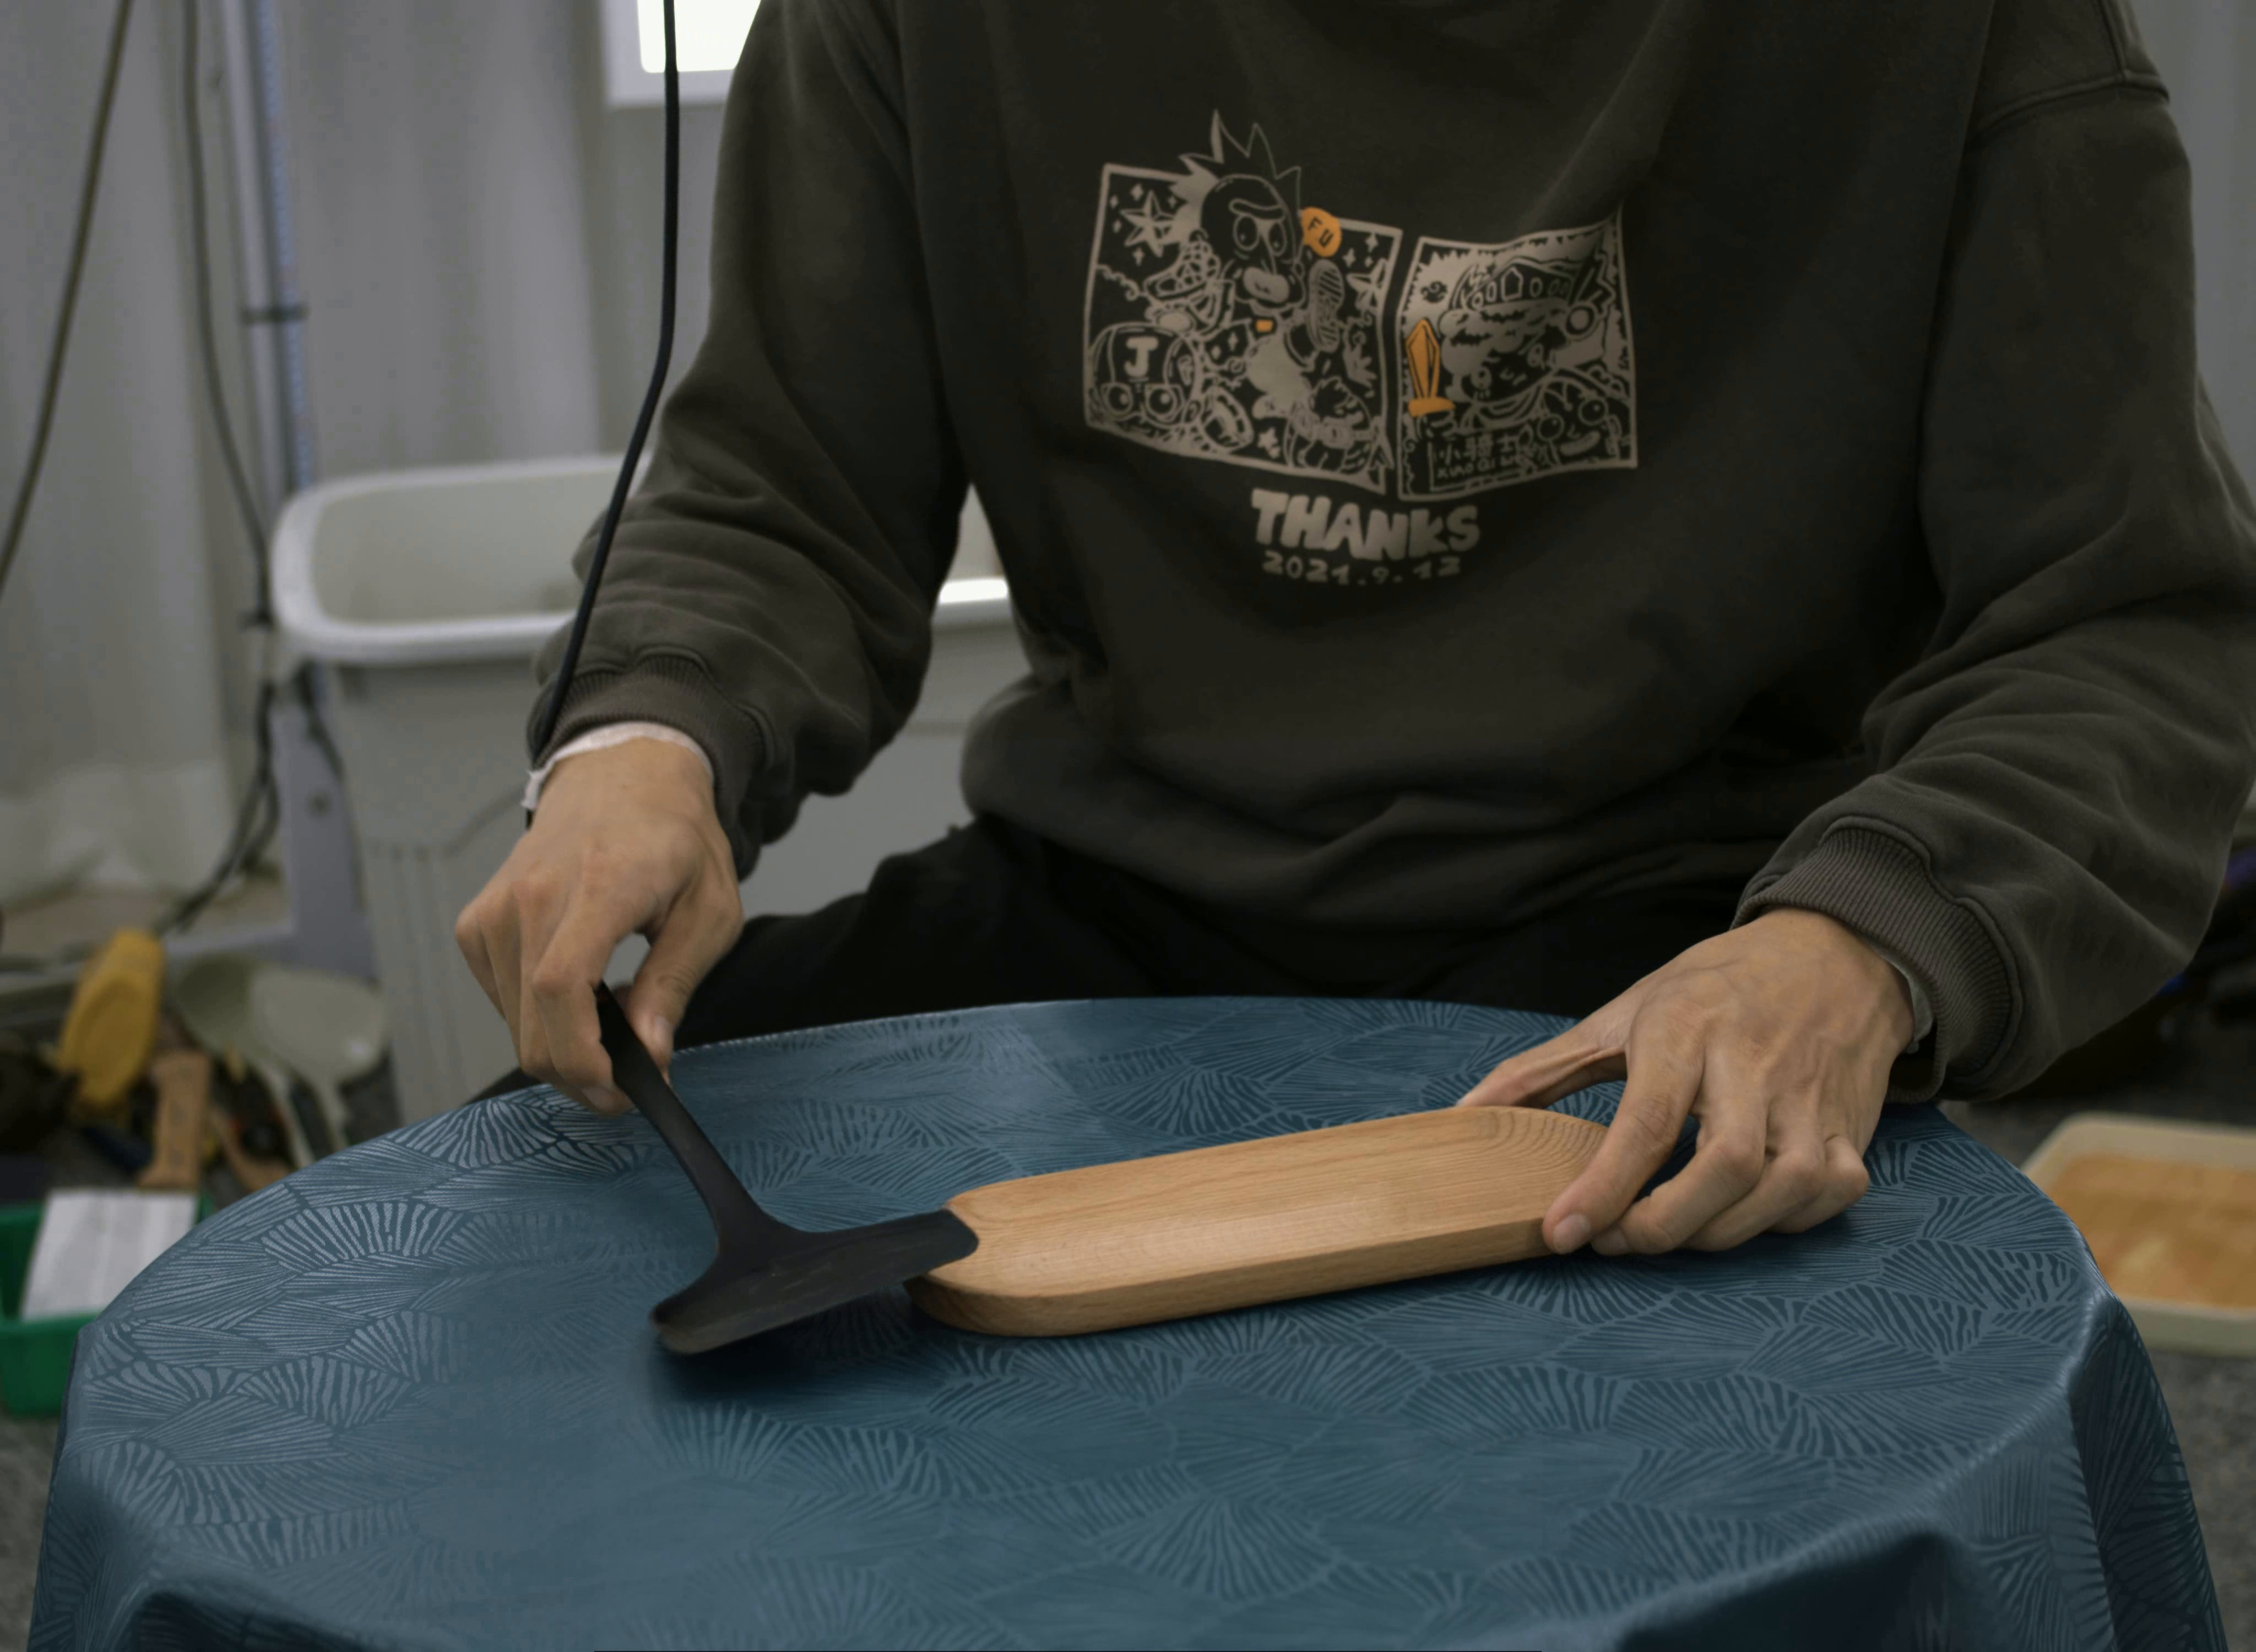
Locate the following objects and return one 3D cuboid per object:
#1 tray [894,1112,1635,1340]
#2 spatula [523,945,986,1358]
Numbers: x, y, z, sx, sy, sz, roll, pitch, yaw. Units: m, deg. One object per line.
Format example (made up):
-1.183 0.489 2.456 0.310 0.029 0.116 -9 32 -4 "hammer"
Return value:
0.042 0.121 1.653 0.230 0.020 0.102 -9 17 -13 "tray"
-0.140 0.092 1.708 0.099 0.040 0.330 -18 28 -16 "spatula"
